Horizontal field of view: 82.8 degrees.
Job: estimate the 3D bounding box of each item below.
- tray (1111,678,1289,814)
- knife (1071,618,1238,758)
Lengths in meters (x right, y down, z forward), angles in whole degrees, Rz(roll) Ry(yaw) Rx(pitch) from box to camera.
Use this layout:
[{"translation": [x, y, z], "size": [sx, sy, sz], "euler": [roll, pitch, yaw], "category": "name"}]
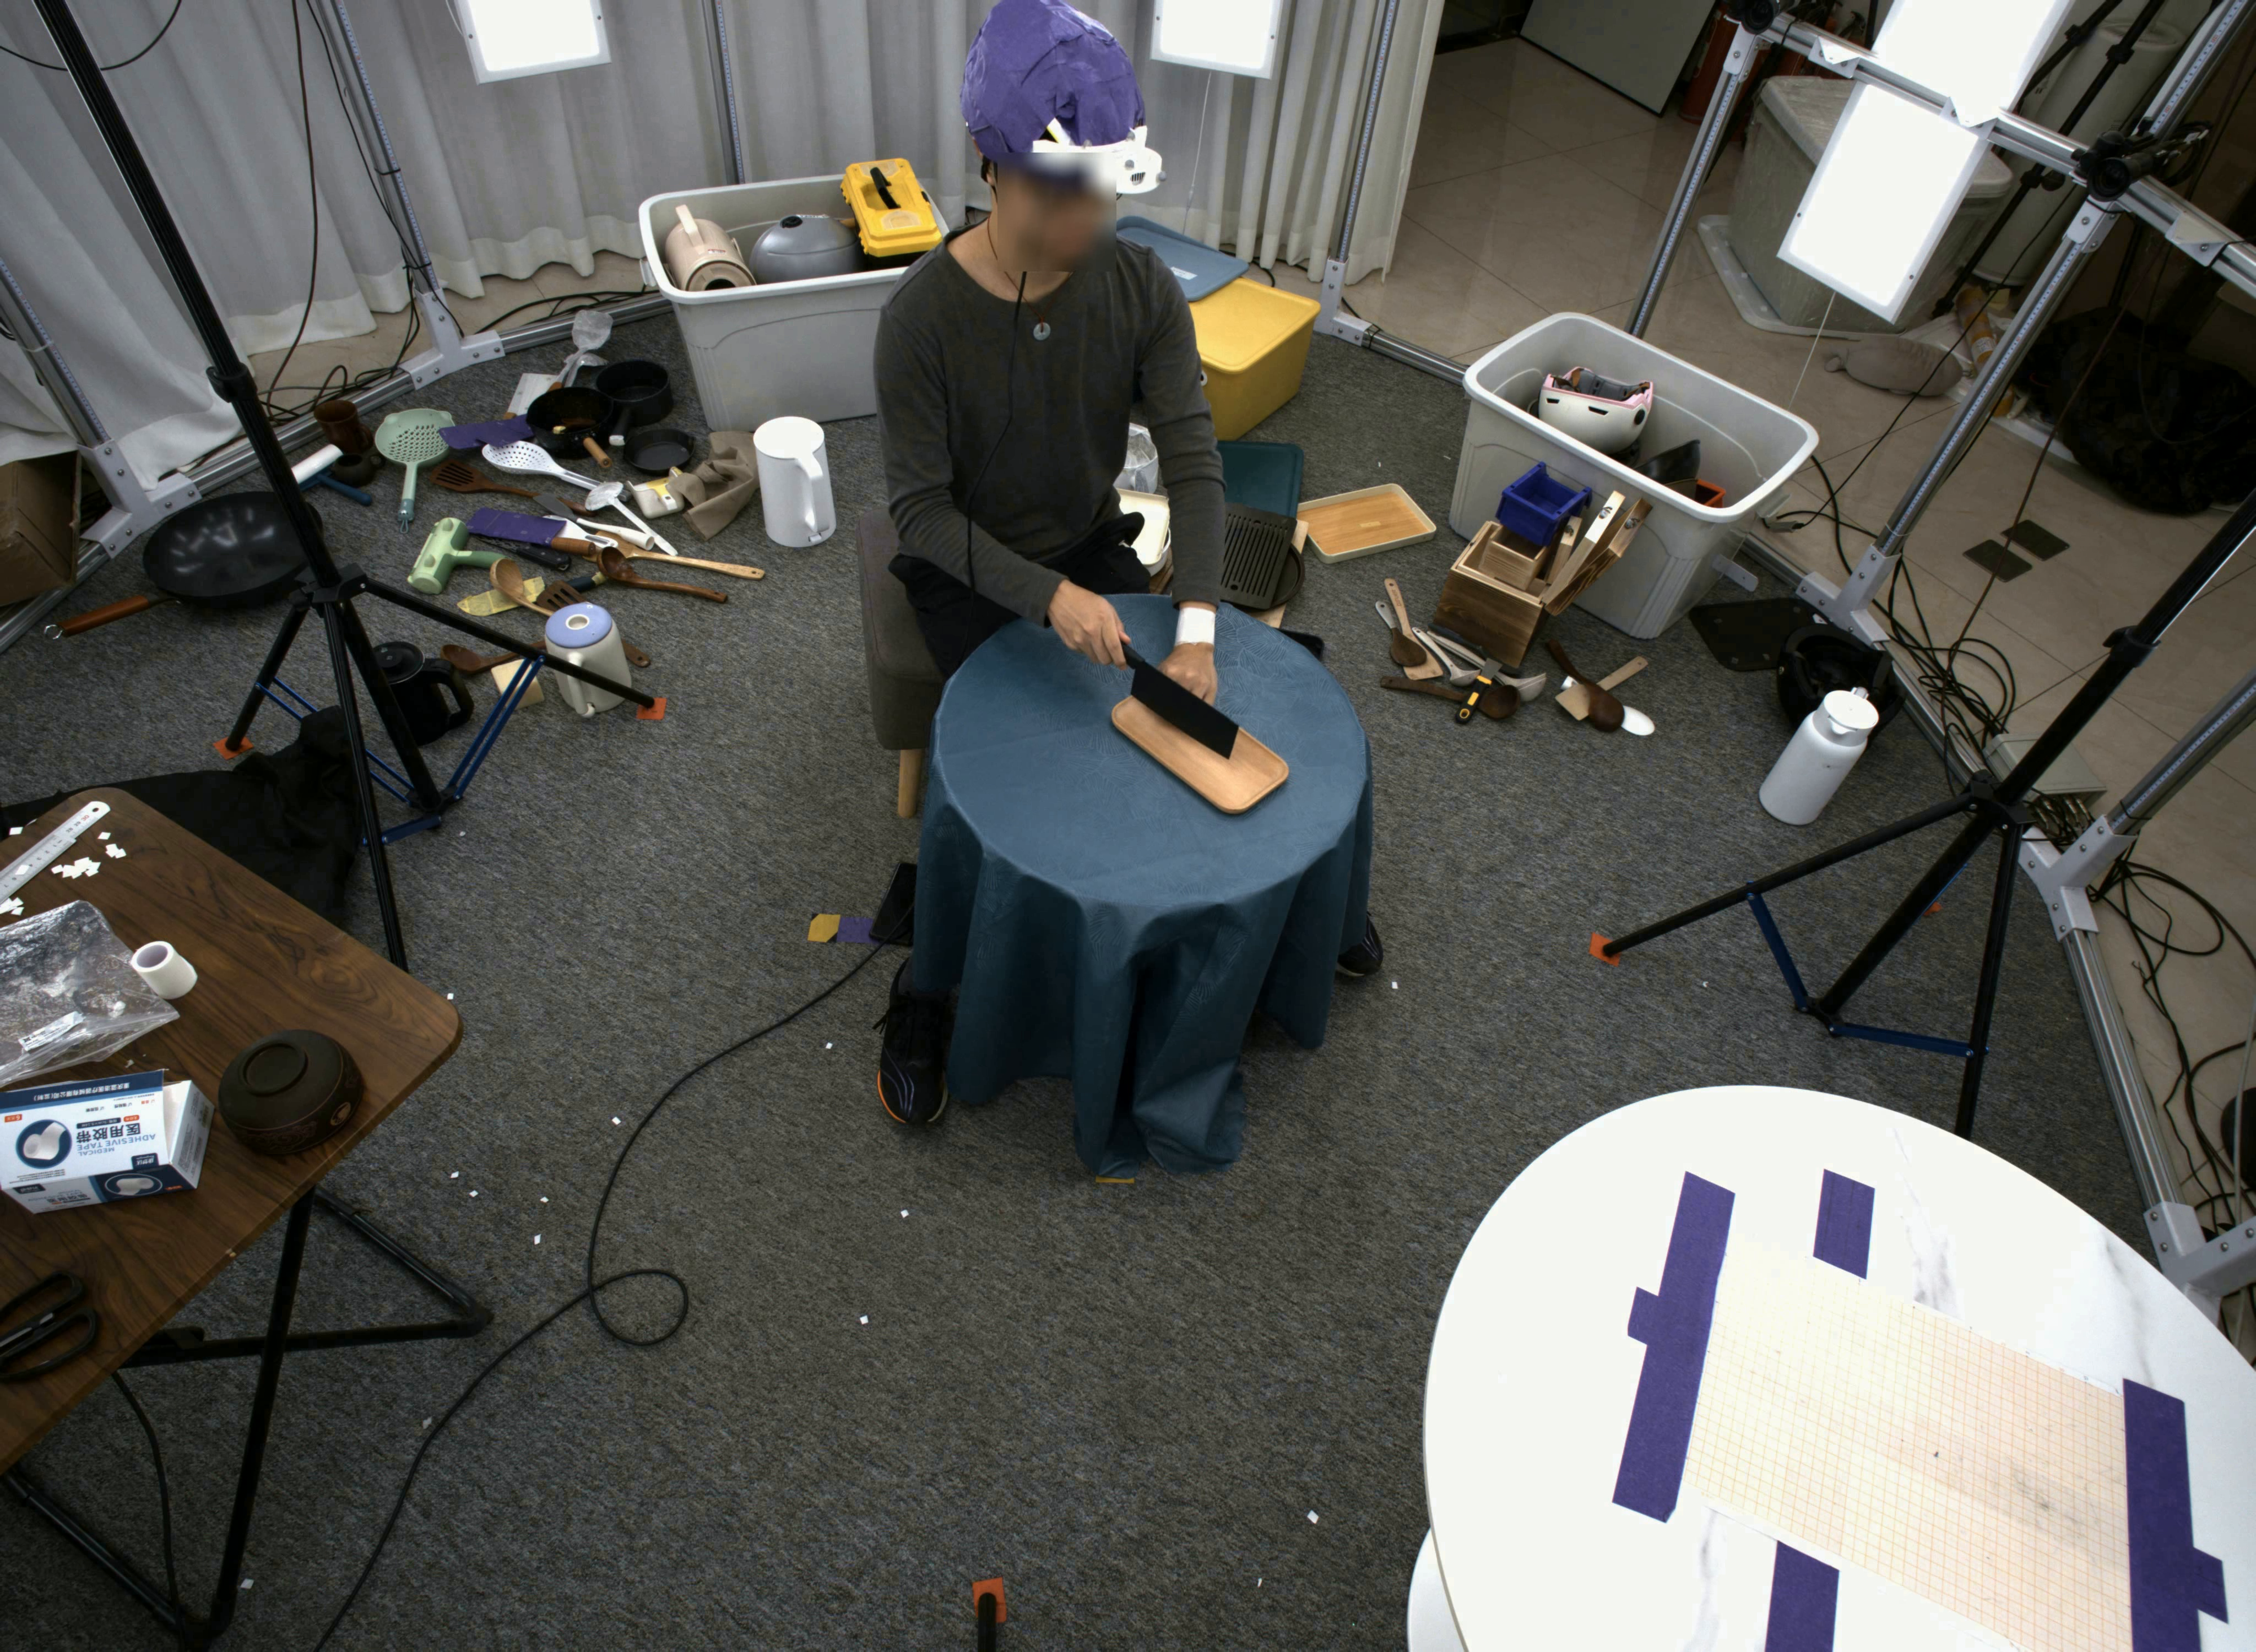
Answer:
[{"translation": [0.097, -0.113, 1.762], "size": [0.131, 0.022, 0.255], "euler": [-32, 57, -30], "category": "tray"}, {"translation": [0.032, -0.195, 1.752], "size": [0.306, 0.079, 0.021], "euler": [40, 47, 23], "category": "knife"}]
